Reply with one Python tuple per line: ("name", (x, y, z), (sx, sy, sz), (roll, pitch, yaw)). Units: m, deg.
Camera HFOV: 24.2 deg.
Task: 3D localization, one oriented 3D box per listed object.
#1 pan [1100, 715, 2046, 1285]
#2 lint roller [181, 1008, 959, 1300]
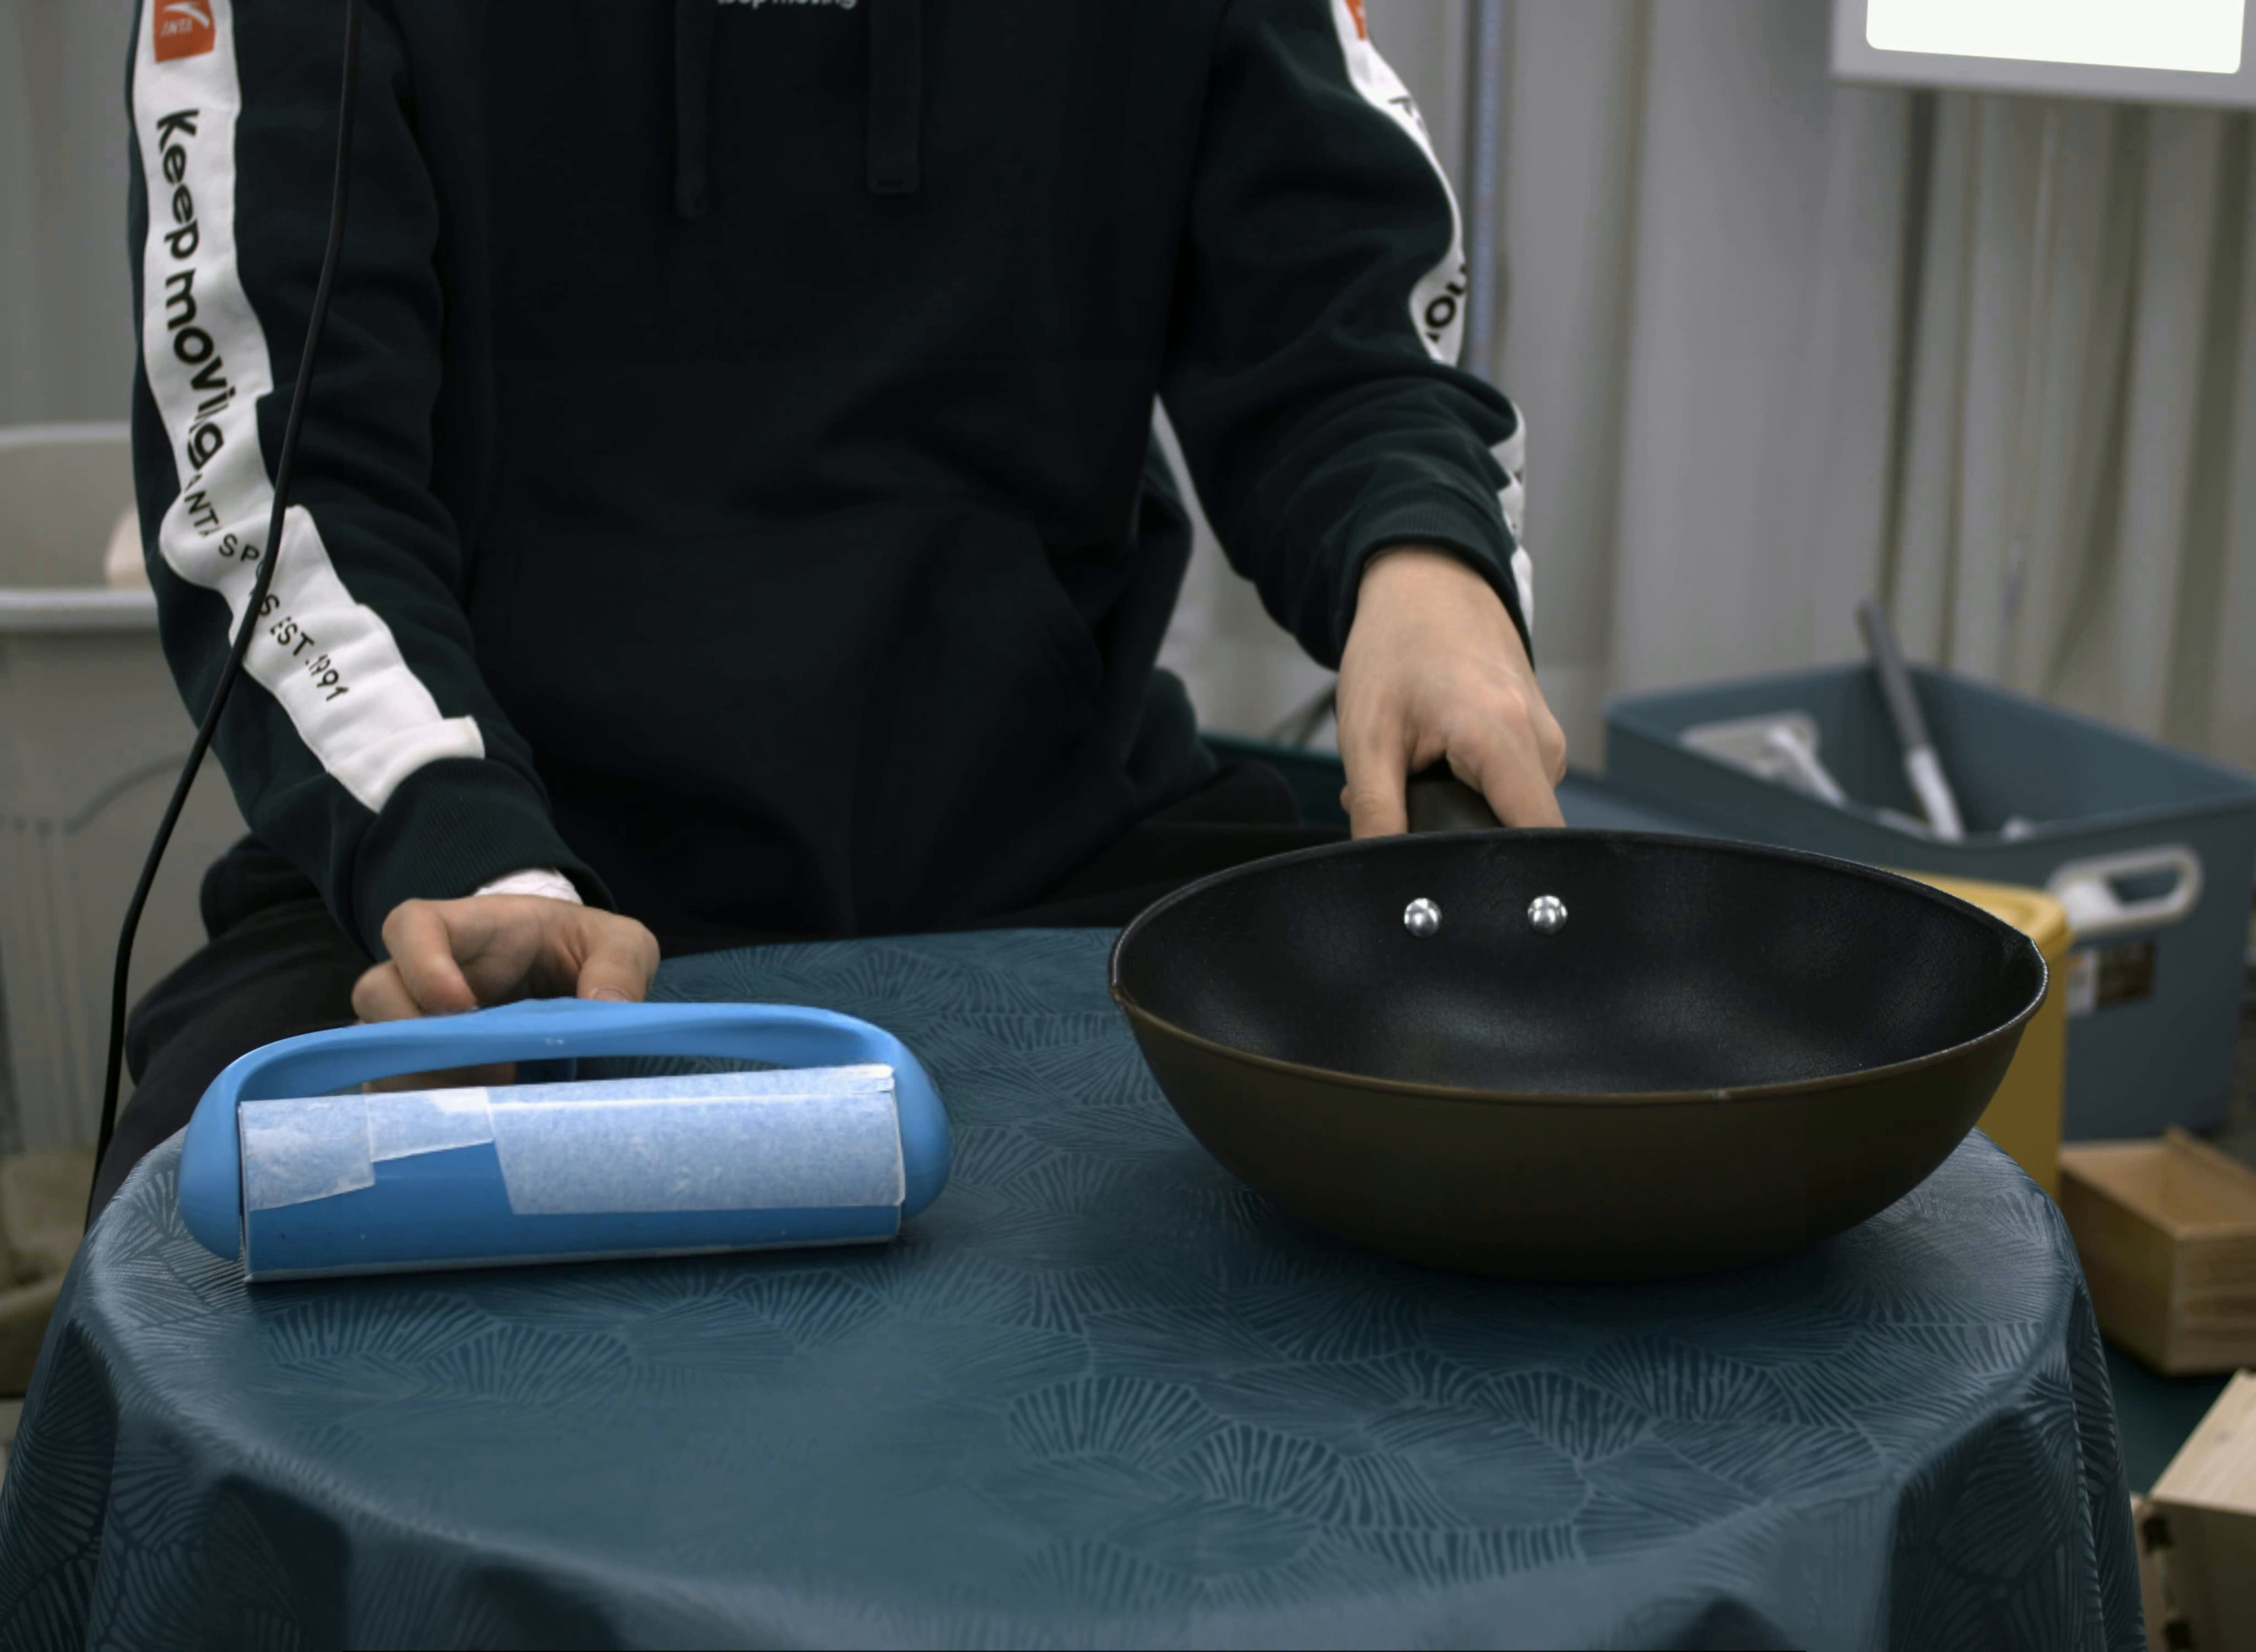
("pan", (0.120, 0.053, 1.685), (0.288, 0.087, 0.459), (-1, 15, -9))
("lint roller", (-0.177, 0.086, 1.603), (0.229, 0.068, 0.178), (-6, 18, -14))
